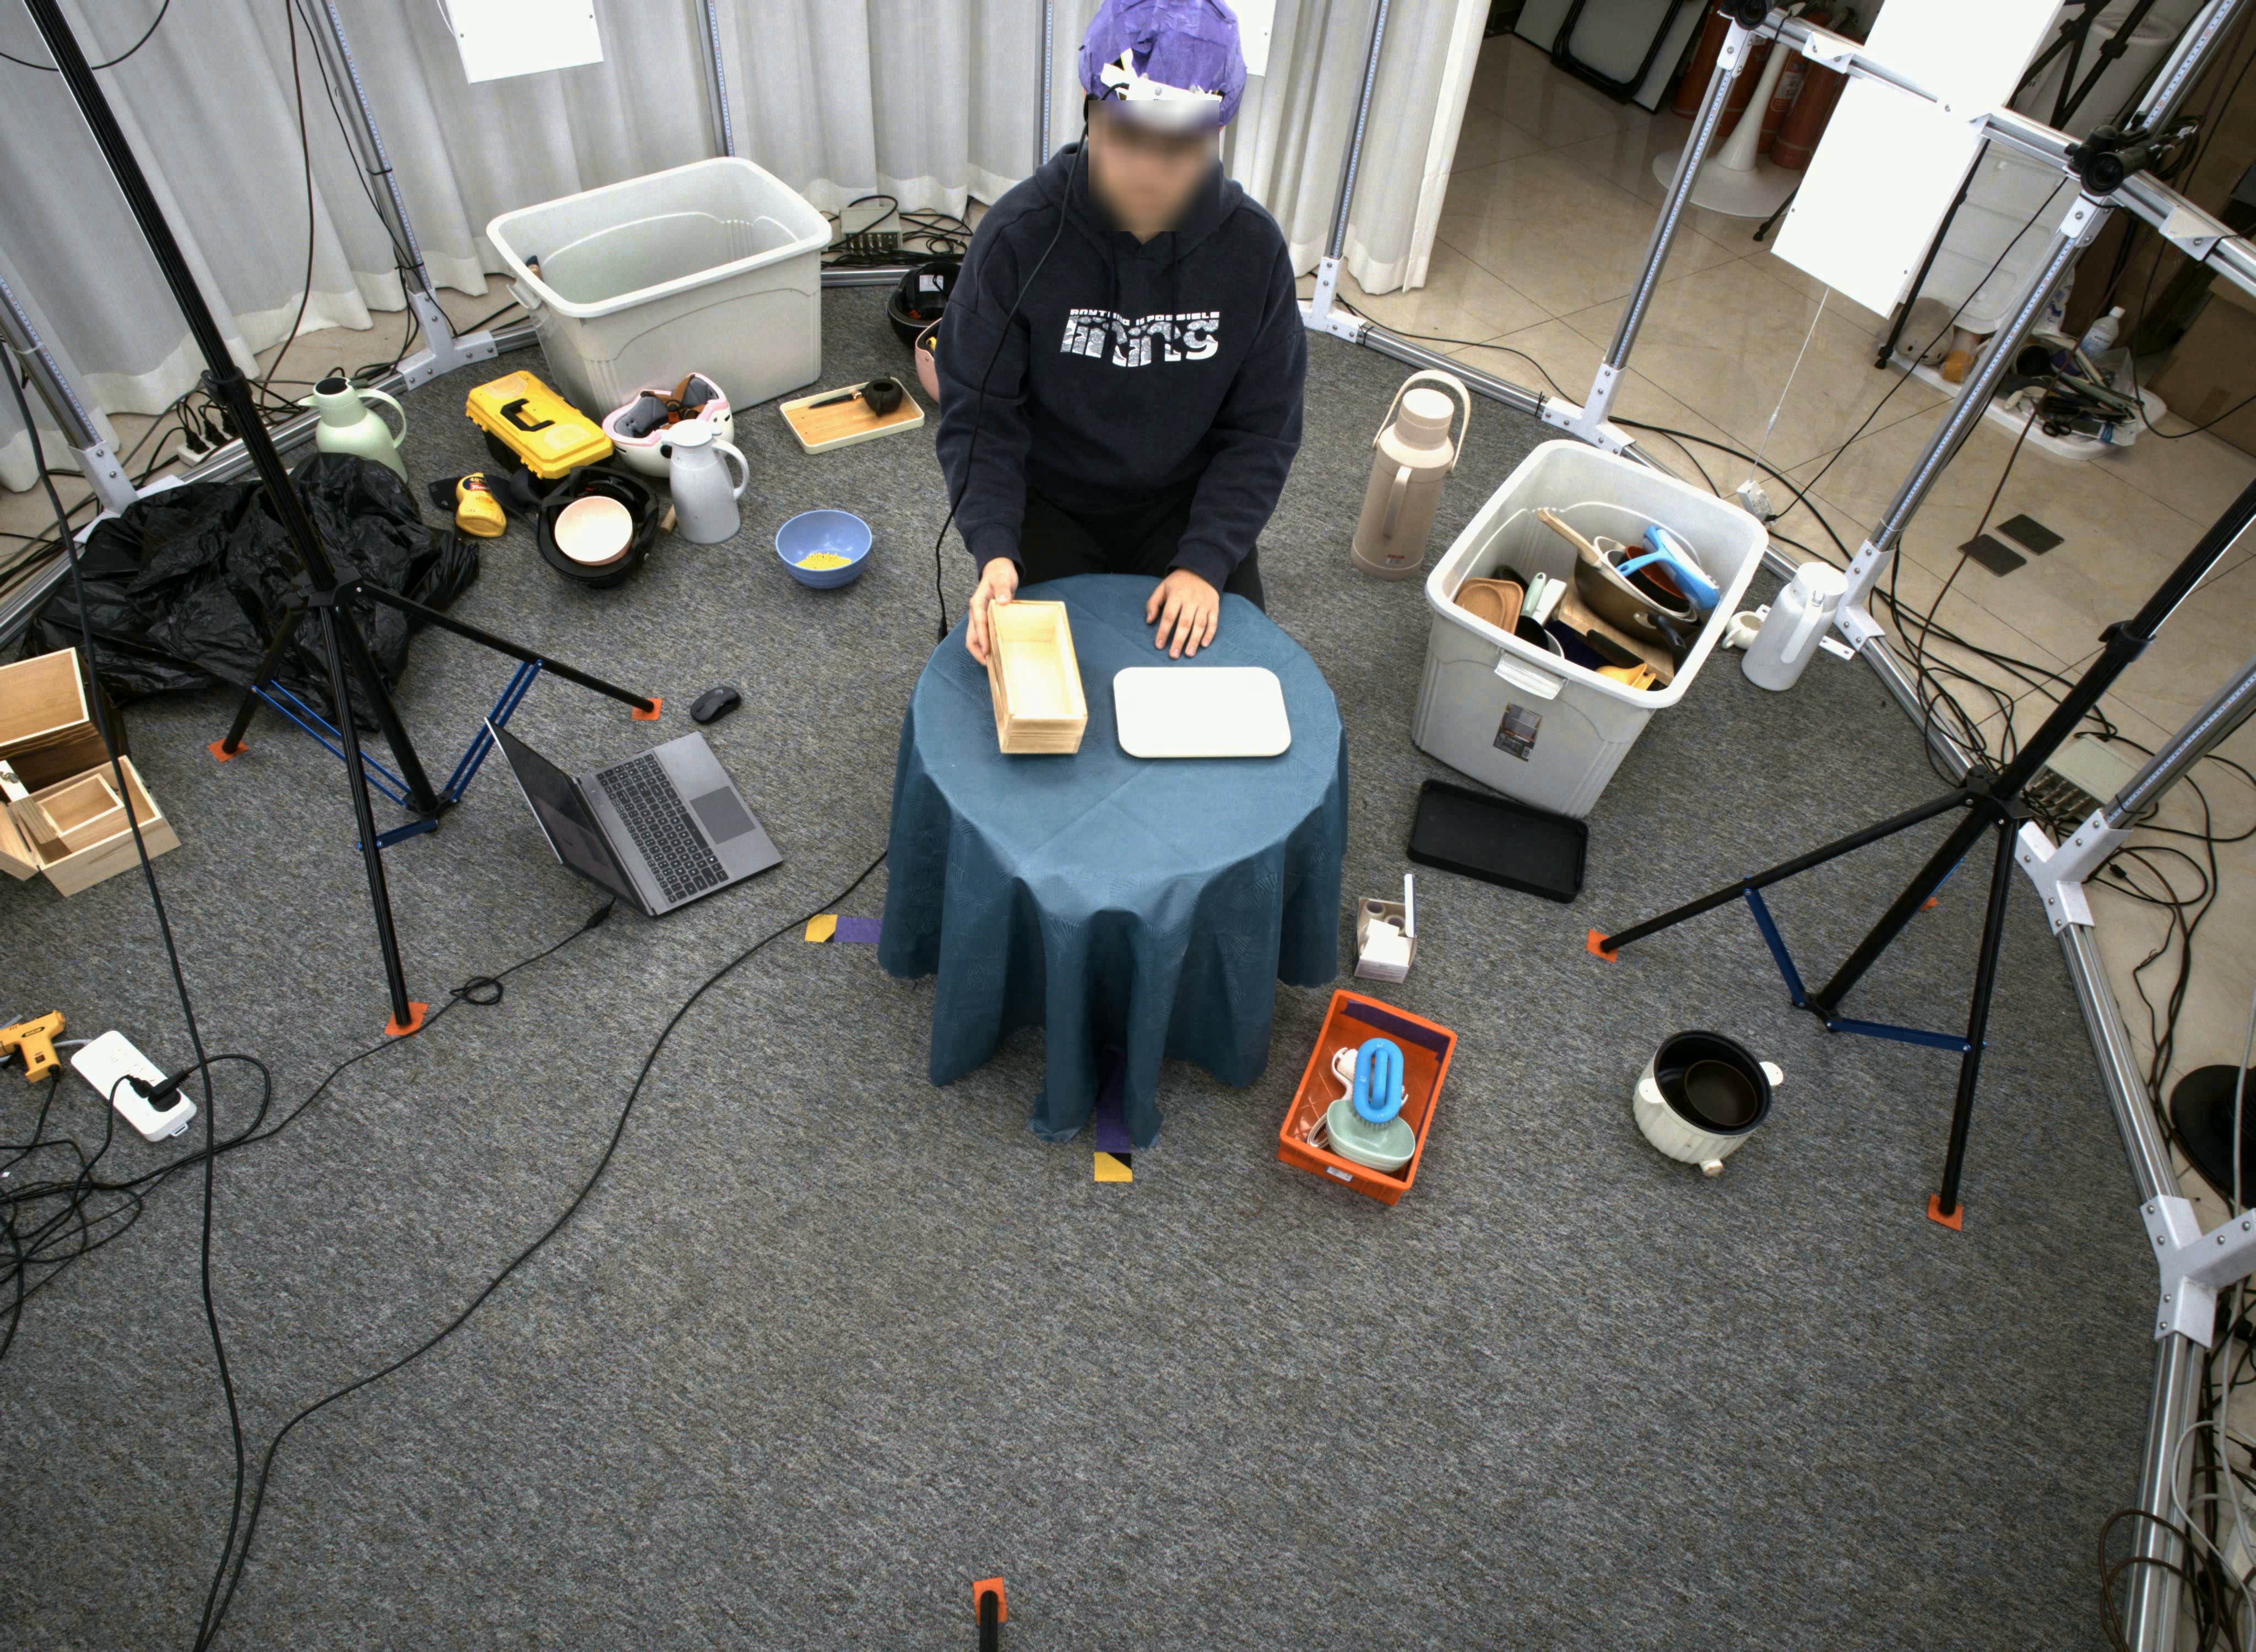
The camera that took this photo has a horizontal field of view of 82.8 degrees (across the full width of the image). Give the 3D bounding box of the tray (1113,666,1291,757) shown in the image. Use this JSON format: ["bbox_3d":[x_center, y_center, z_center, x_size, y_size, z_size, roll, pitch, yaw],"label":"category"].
[{"bbox_3d":[0.102,-0.160,1.801,0.239,0.017,0.175,-1,49,-5],"label":"tray"}]

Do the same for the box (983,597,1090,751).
[{"bbox_3d":[-0.128,-0.208,1.752,0.107,0.078,0.216,-1,52,-17],"label":"box"}]
